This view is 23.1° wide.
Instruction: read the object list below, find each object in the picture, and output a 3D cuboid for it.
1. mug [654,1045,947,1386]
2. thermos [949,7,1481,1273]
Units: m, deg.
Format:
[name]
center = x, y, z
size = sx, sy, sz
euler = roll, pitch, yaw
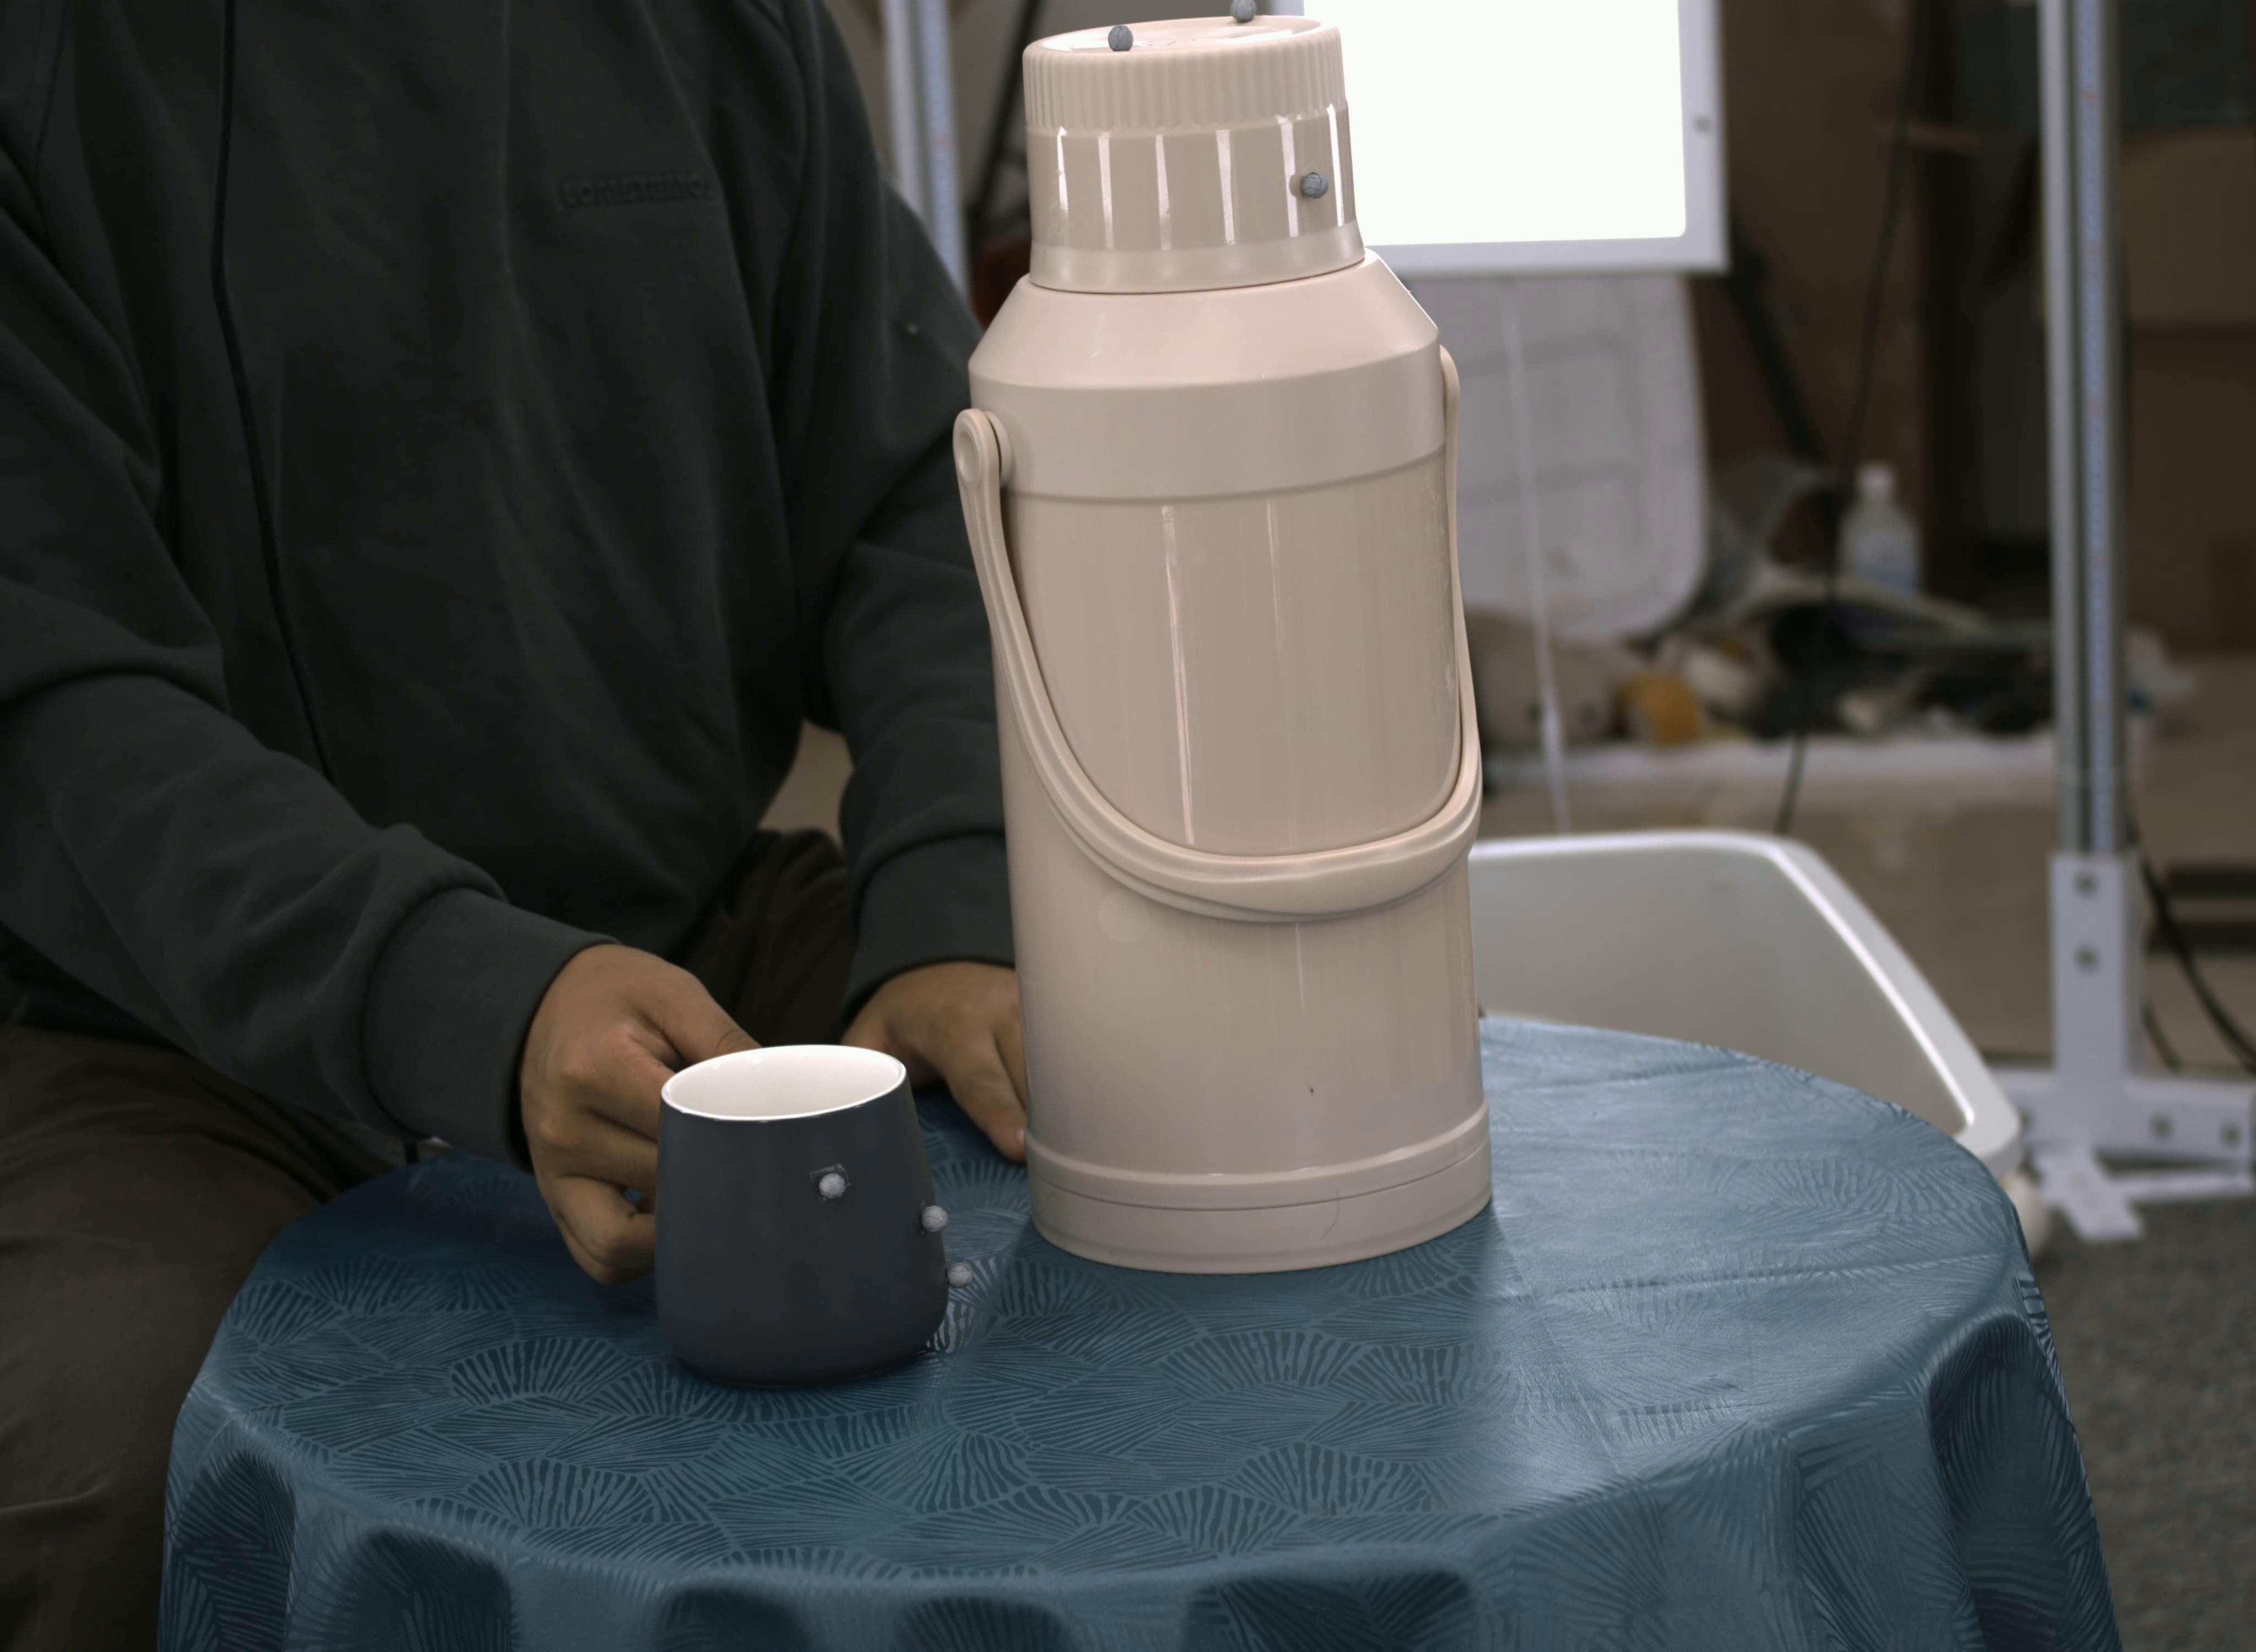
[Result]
[mug]
center = -0.111, 0.120, 1.767
size = 0.092, 0.090, 0.125
euler = -9, 15, -17
[thermos]
center = 0.025, -0.067, 1.843
size = 0.172, 0.408, 0.210
euler = -10, 15, -23
